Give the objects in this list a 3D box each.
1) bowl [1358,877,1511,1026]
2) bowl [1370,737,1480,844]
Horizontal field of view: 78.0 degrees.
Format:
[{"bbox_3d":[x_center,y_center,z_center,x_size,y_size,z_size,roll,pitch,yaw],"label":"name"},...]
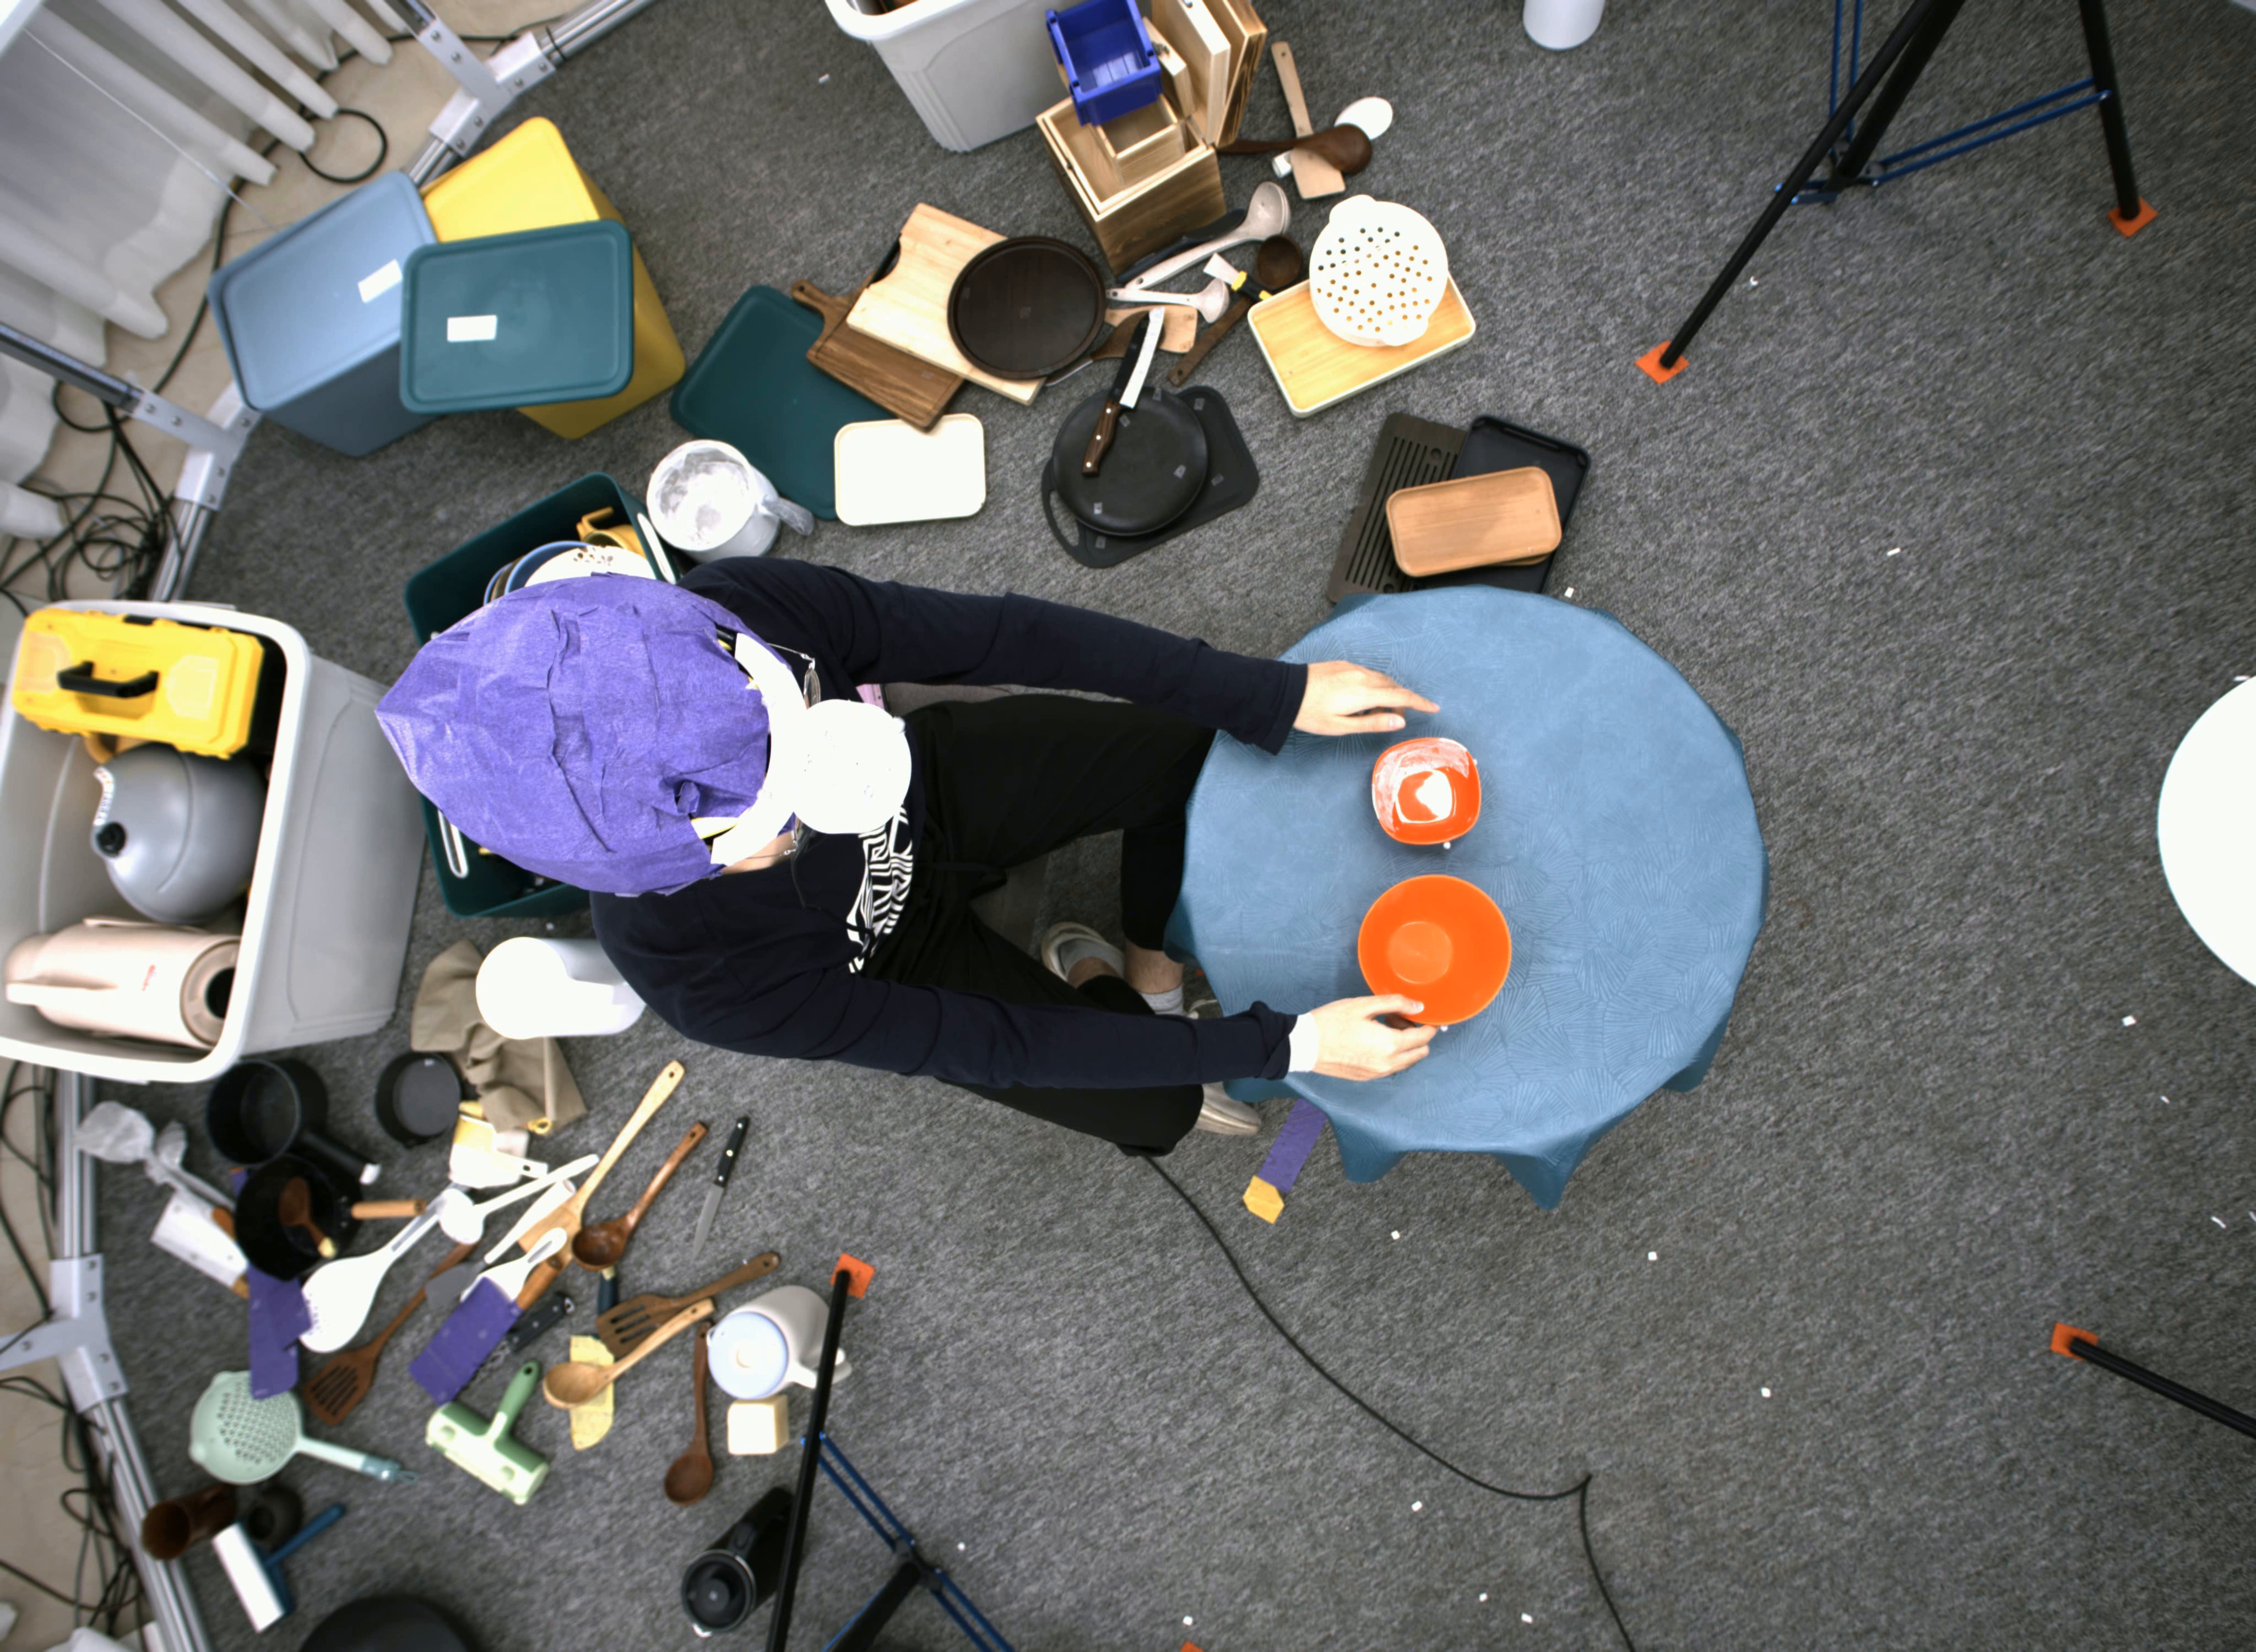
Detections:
[{"bbox_3d":[0.308,0.126,1.400,0.148,0.104,0.147,-1,86,11],"label":"bowl"},{"bbox_3d":[0.309,-0.036,1.434,0.119,0.051,0.118,-1,88,12],"label":"bowl"}]
